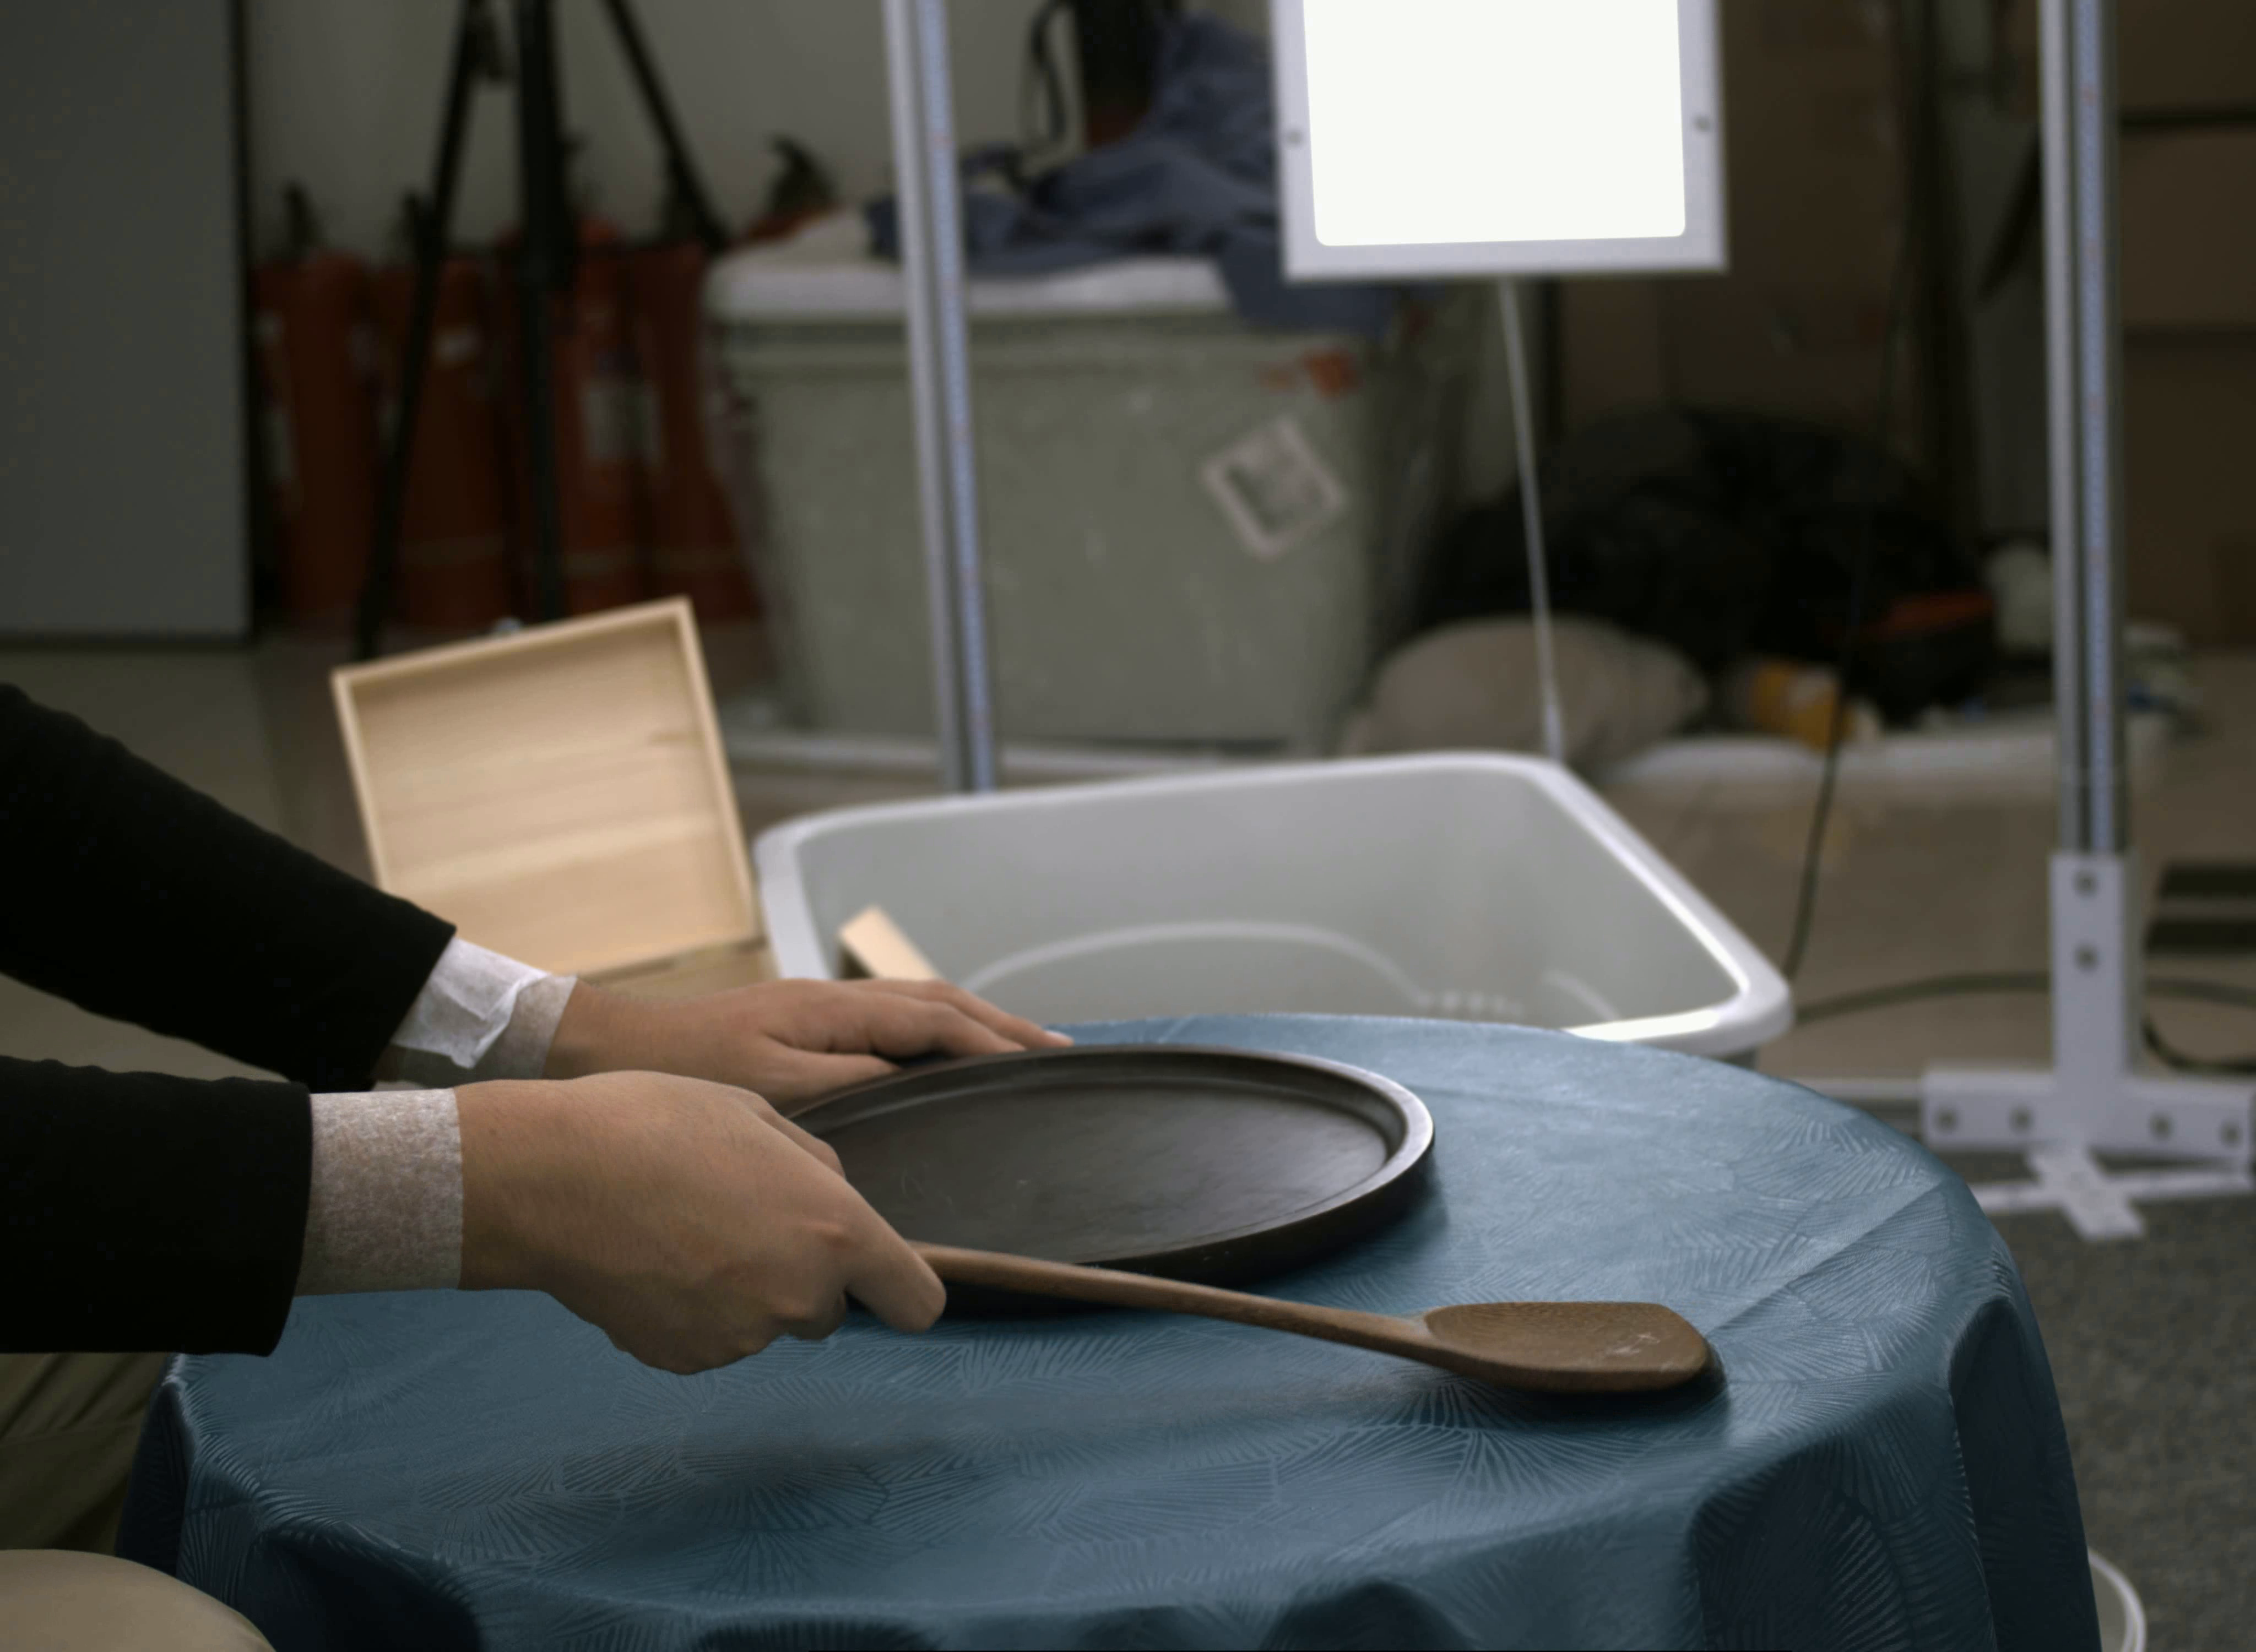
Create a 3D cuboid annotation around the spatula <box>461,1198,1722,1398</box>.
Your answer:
[{"bbox_3d":[-0.010,0.141,1.671,0.384,0.016,0.096,7,9,-2],"label":"spatula"}]

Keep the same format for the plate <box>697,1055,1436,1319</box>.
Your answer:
[{"bbox_3d":[-0.021,0.121,1.885,0.254,0.029,0.254,-4,15,0],"label":"plate"}]
